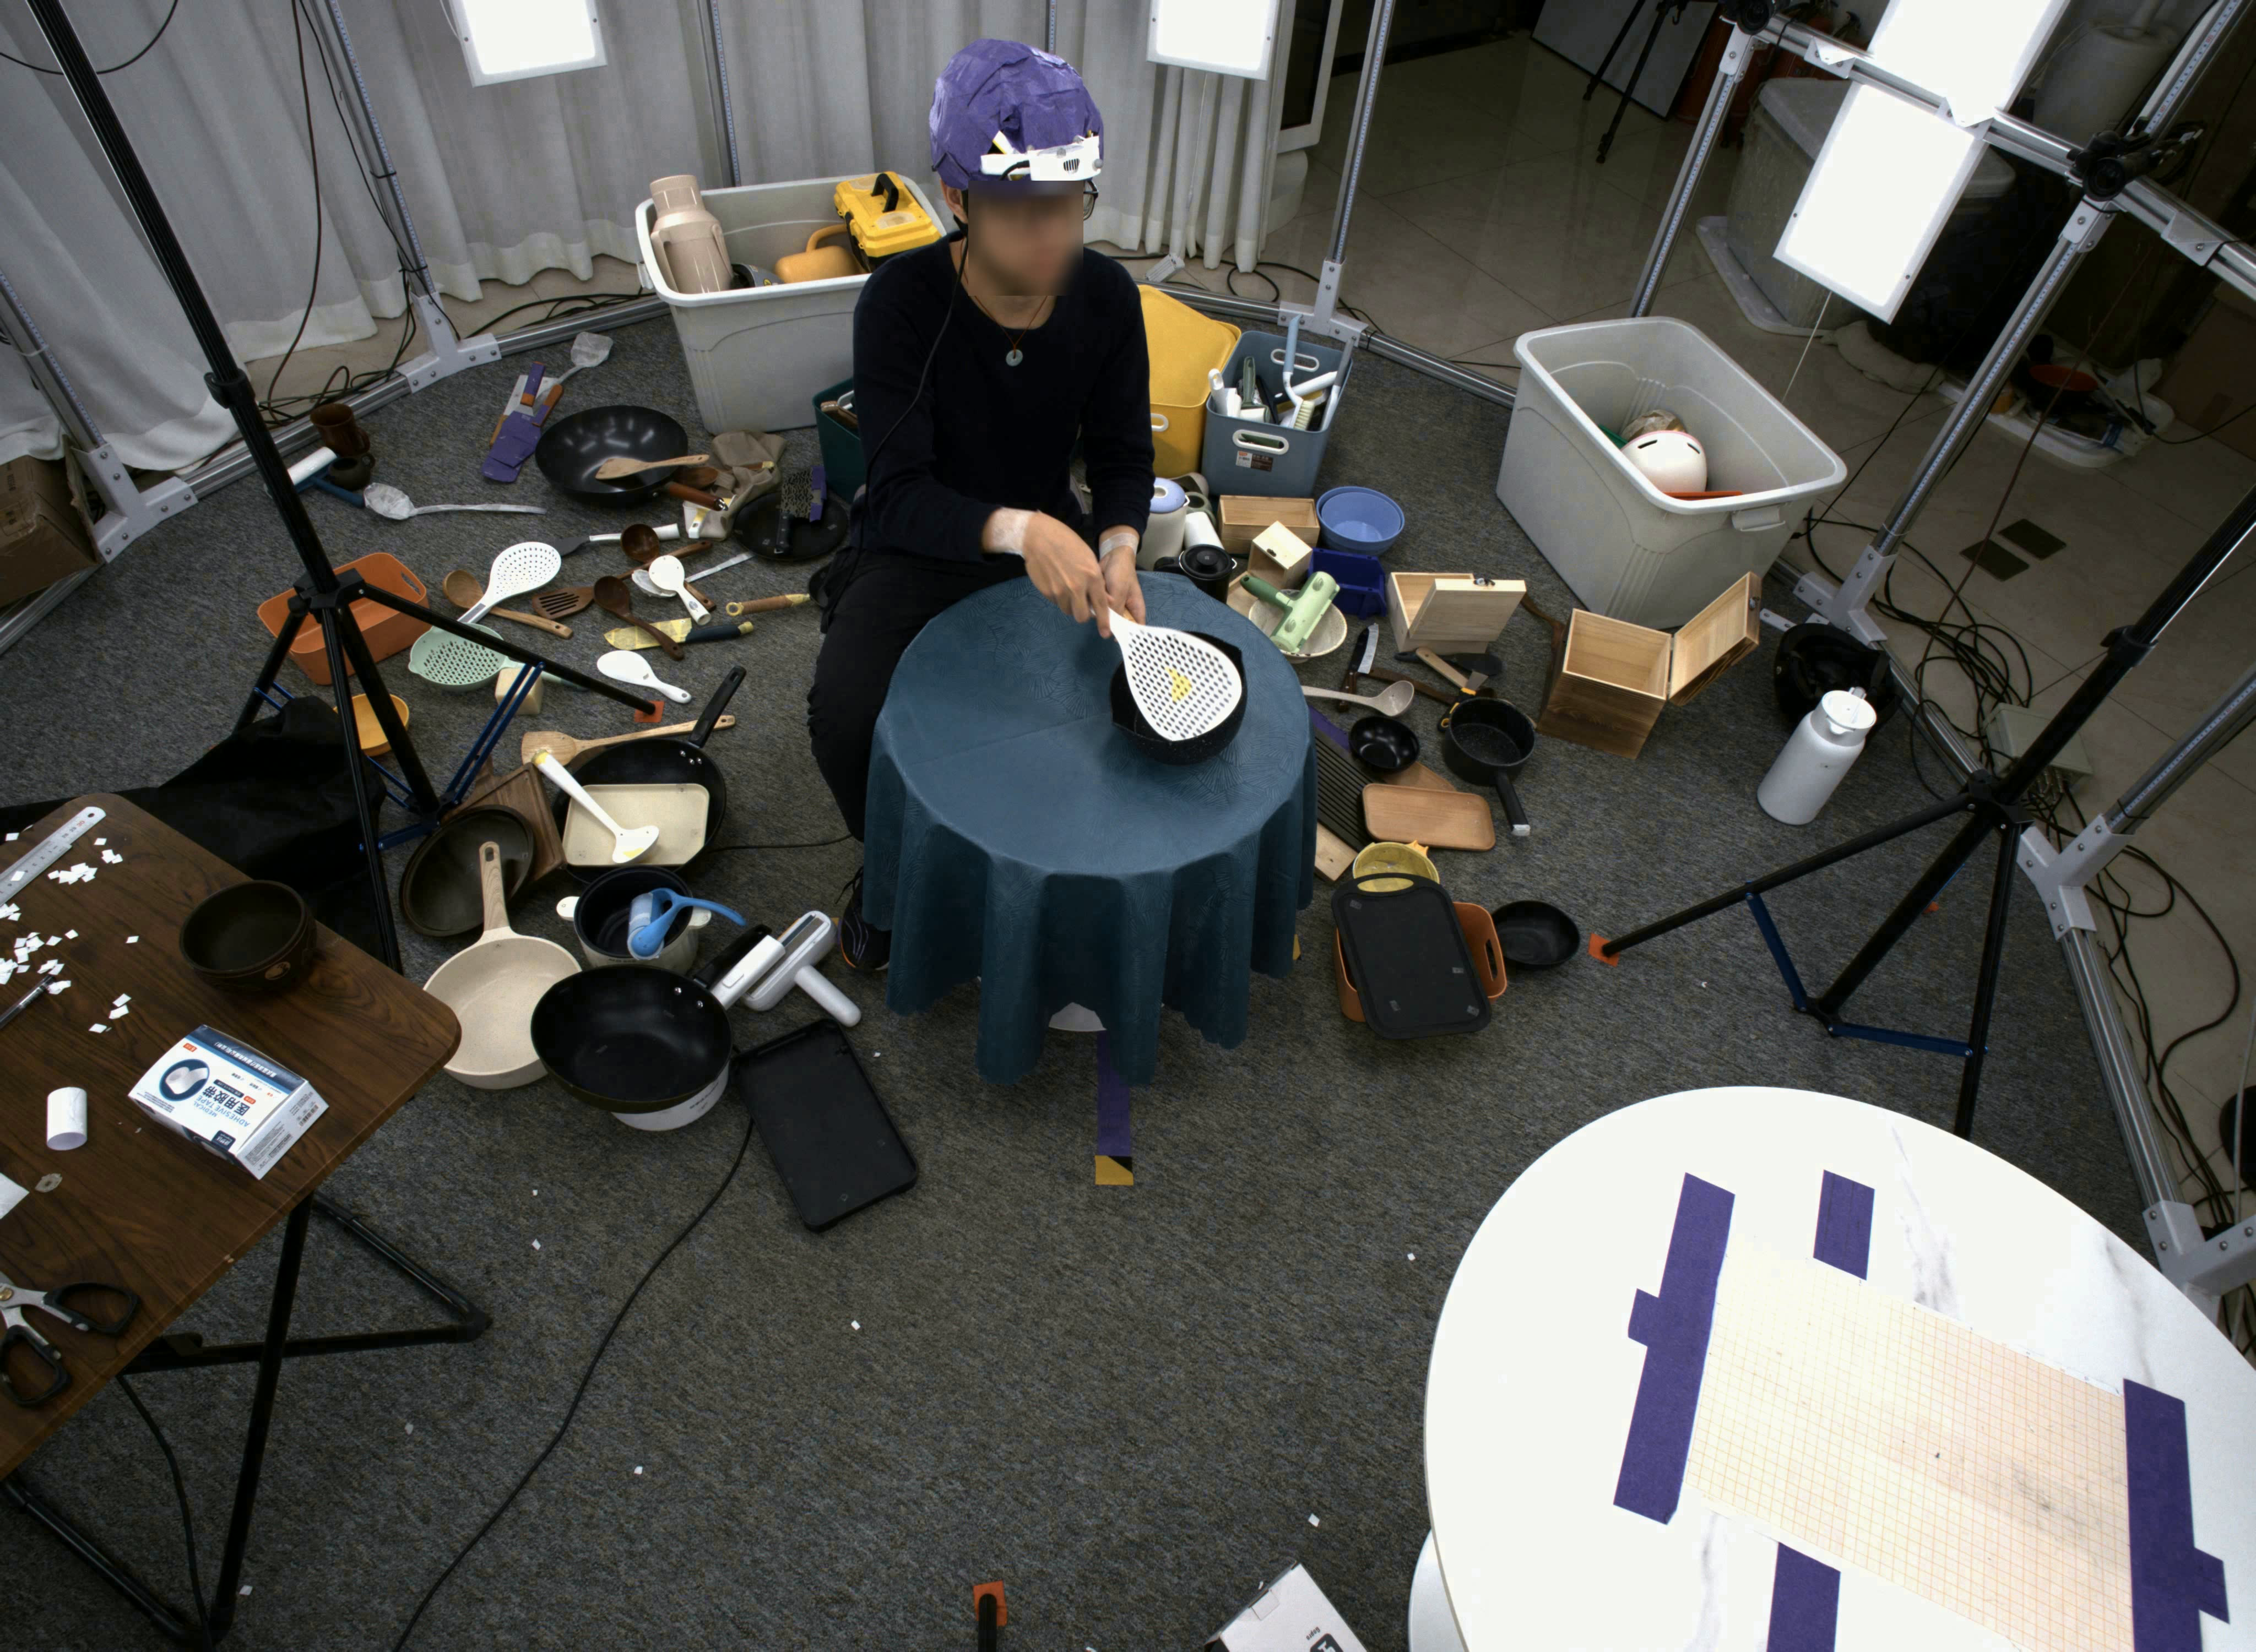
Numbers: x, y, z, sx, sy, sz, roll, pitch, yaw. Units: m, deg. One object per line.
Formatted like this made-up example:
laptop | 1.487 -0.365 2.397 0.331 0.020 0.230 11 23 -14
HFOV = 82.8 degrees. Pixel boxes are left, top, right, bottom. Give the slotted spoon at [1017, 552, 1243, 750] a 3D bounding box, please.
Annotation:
slotted spoon | -0.001 -0.240 1.662 0.344 0.051 0.137 40 88 -15

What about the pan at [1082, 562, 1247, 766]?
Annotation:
pan | 0.031 -0.228 1.777 0.208 0.106 0.350 -32 57 -6
